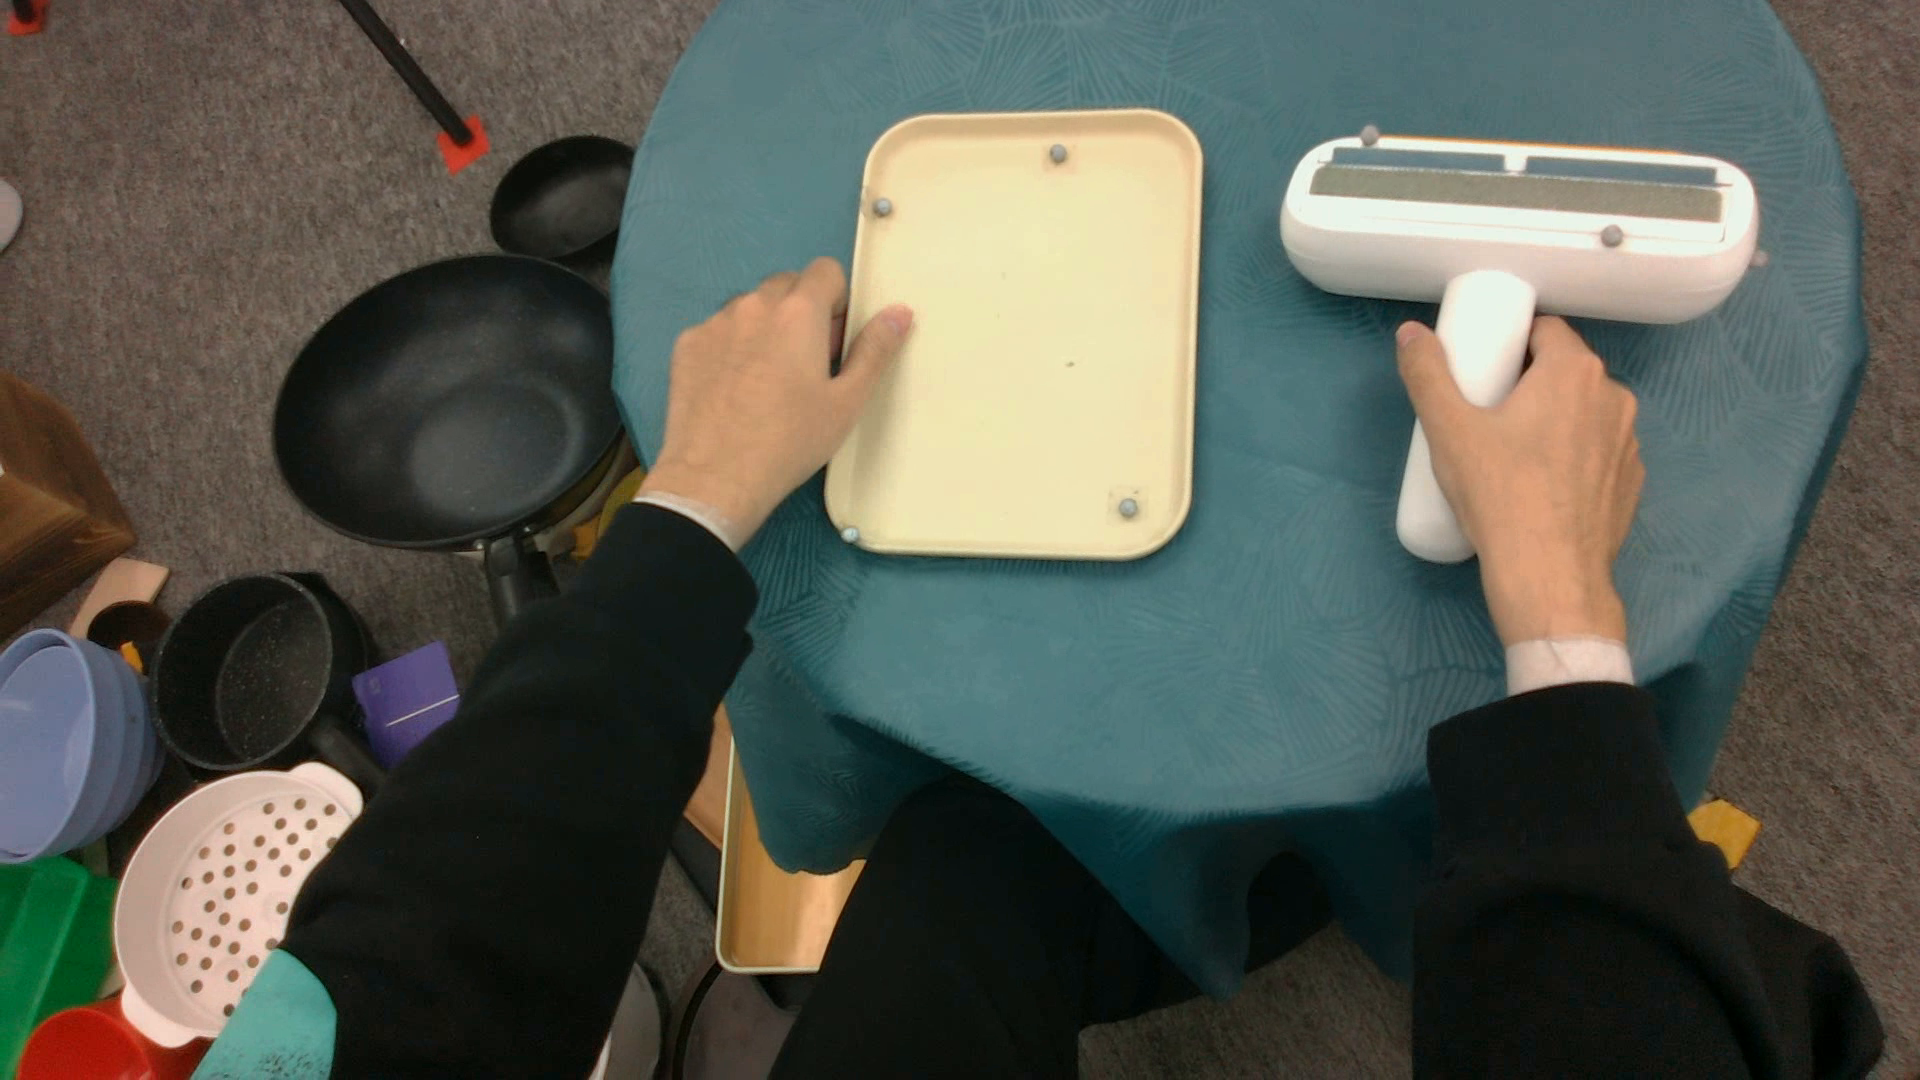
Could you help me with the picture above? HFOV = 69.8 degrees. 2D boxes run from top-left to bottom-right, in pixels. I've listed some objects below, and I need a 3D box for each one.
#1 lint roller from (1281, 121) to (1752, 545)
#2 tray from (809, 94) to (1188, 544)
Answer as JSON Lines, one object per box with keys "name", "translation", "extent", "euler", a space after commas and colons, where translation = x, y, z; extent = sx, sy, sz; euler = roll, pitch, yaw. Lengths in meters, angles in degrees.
{"name": "lint roller", "translation": [0.219, -0.091, 0.594], "extent": [0.192, 0.074, 0.193], "euler": [16, 68, 21]}
{"name": "tray", "translation": [0.022, -0.110, 0.662], "extent": [0.171, 0.017, 0.240], "euler": [2, 70, 8]}
